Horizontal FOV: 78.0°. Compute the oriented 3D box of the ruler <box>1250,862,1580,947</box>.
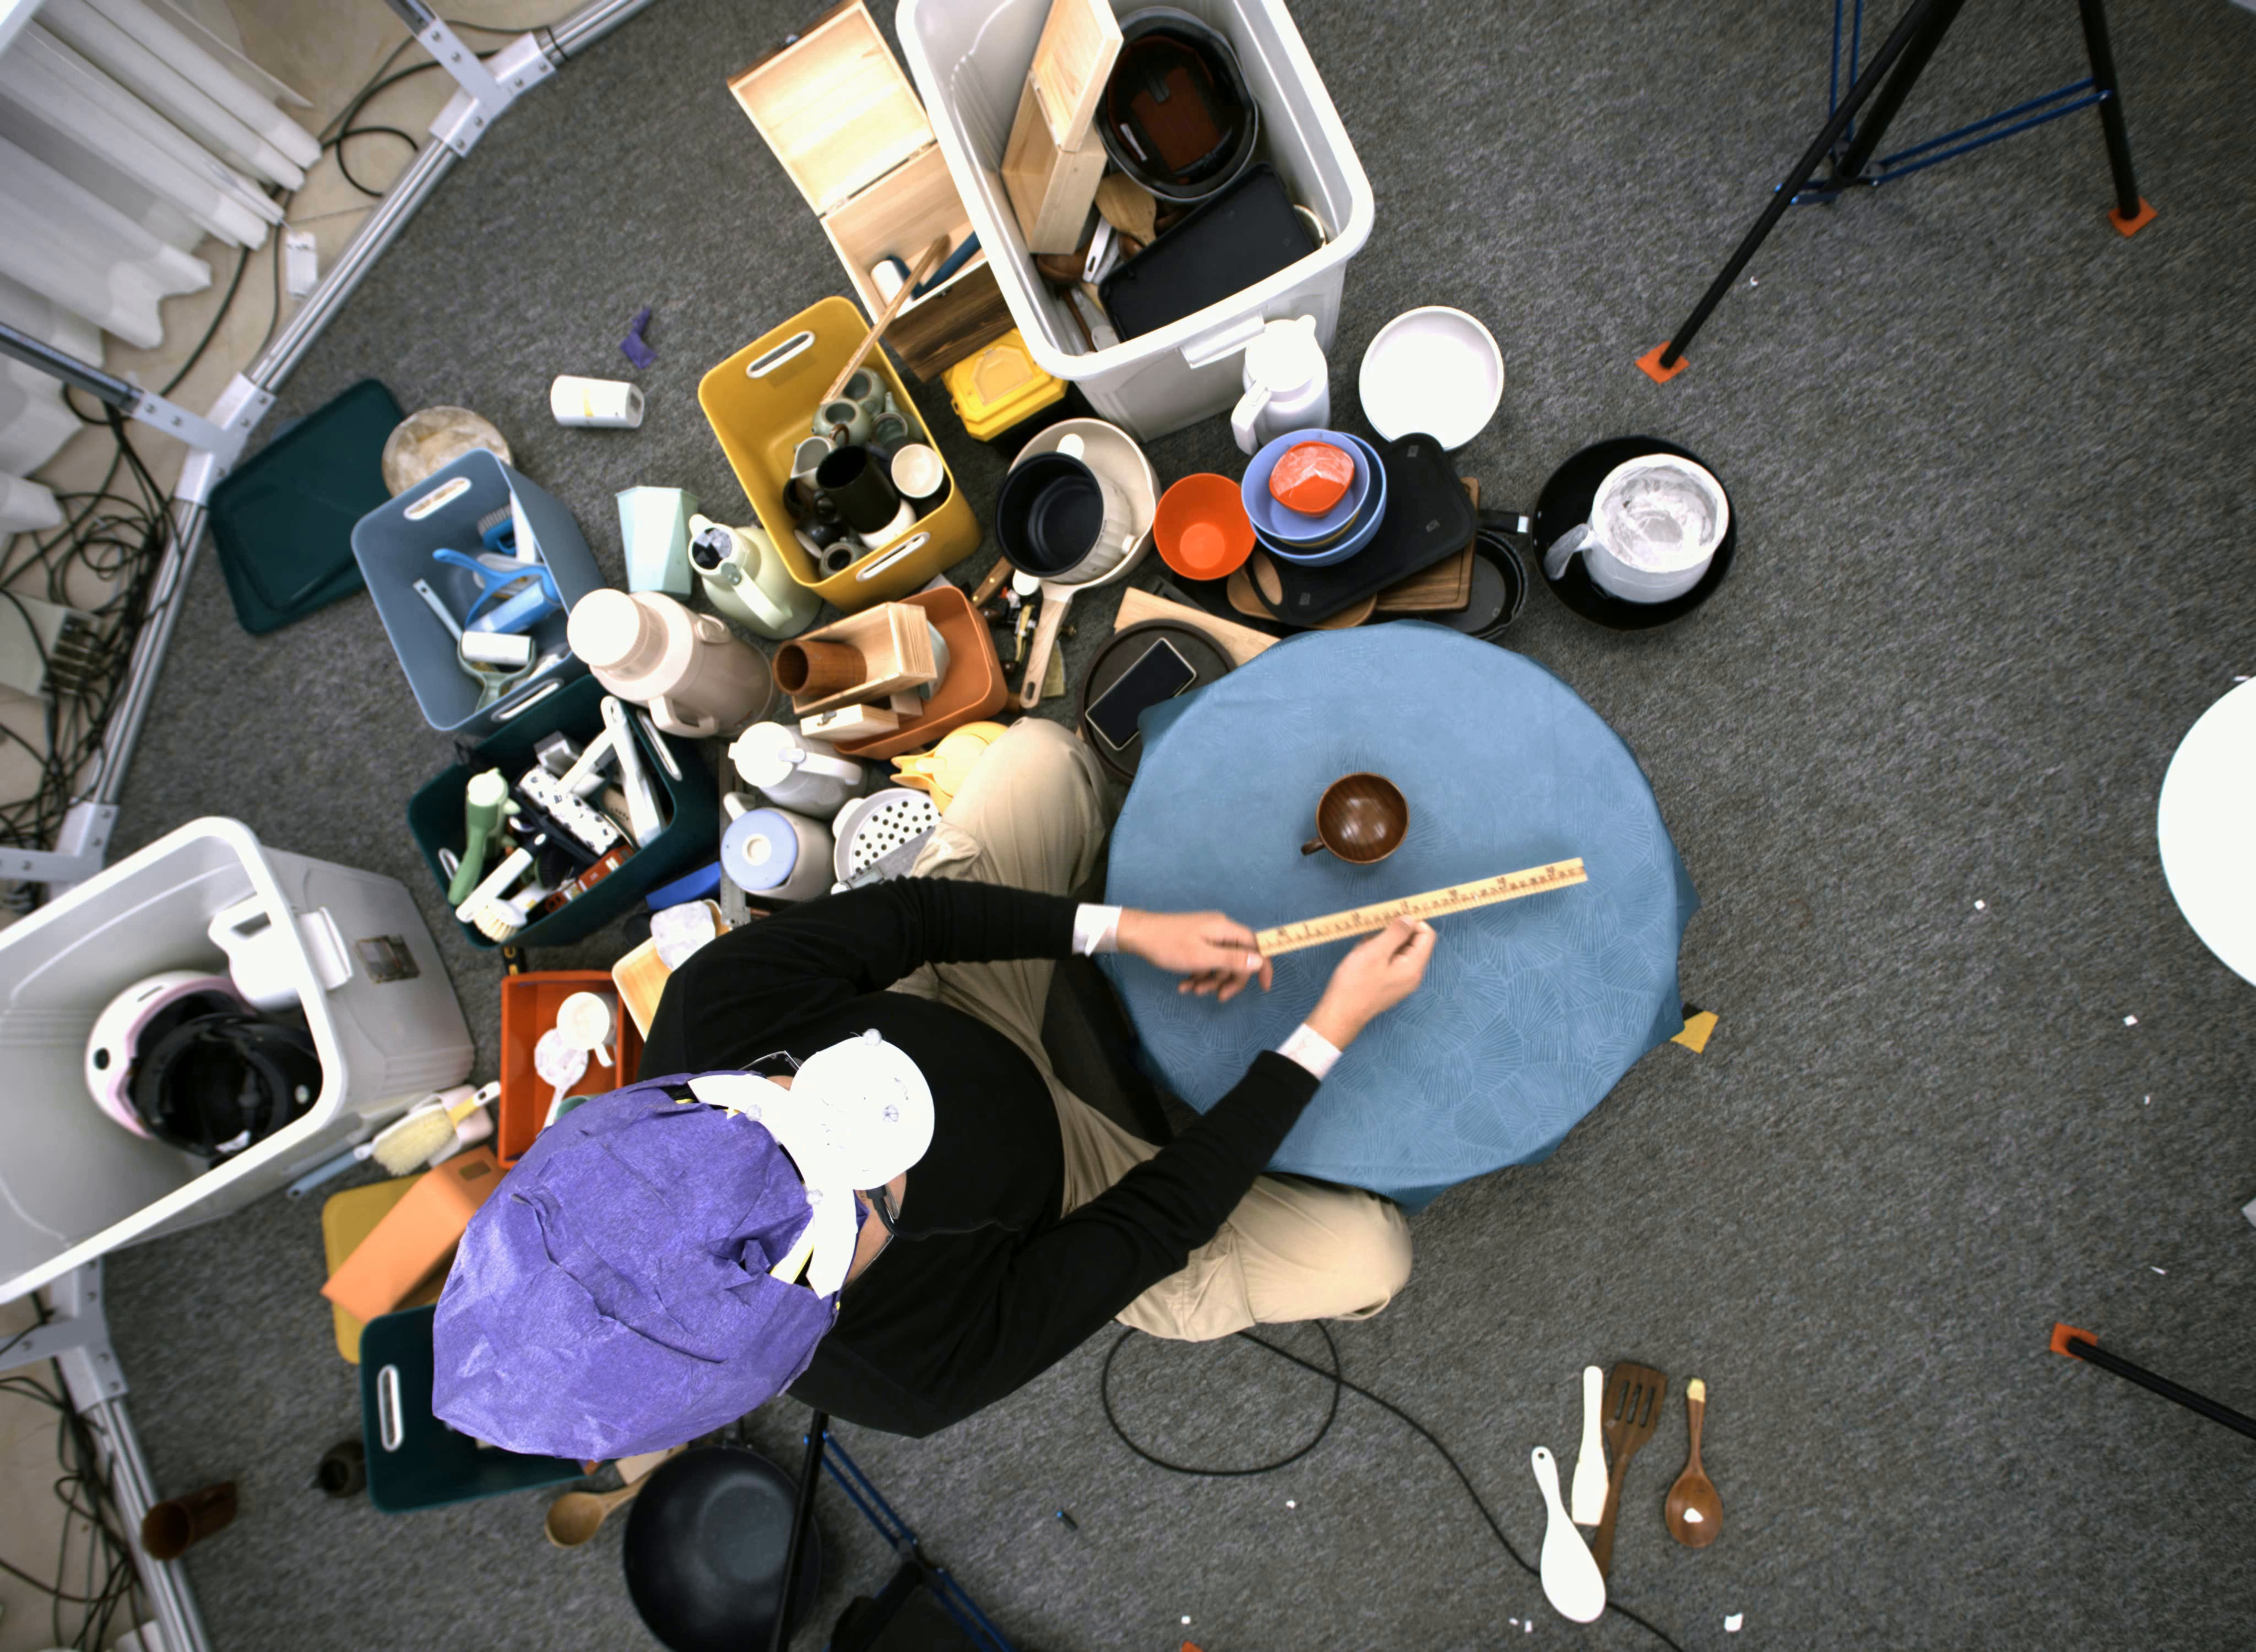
[{"bbox_3d":[0.286,0.076,1.374,0.333,0.022,0.027,-11,74,3],"label":"ruler"}]

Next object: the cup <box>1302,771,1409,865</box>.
[{"bbox_3d":[0.234,-0.002,1.438,0.120,0.067,0.095,-30,83,8],"label":"cup"}]
